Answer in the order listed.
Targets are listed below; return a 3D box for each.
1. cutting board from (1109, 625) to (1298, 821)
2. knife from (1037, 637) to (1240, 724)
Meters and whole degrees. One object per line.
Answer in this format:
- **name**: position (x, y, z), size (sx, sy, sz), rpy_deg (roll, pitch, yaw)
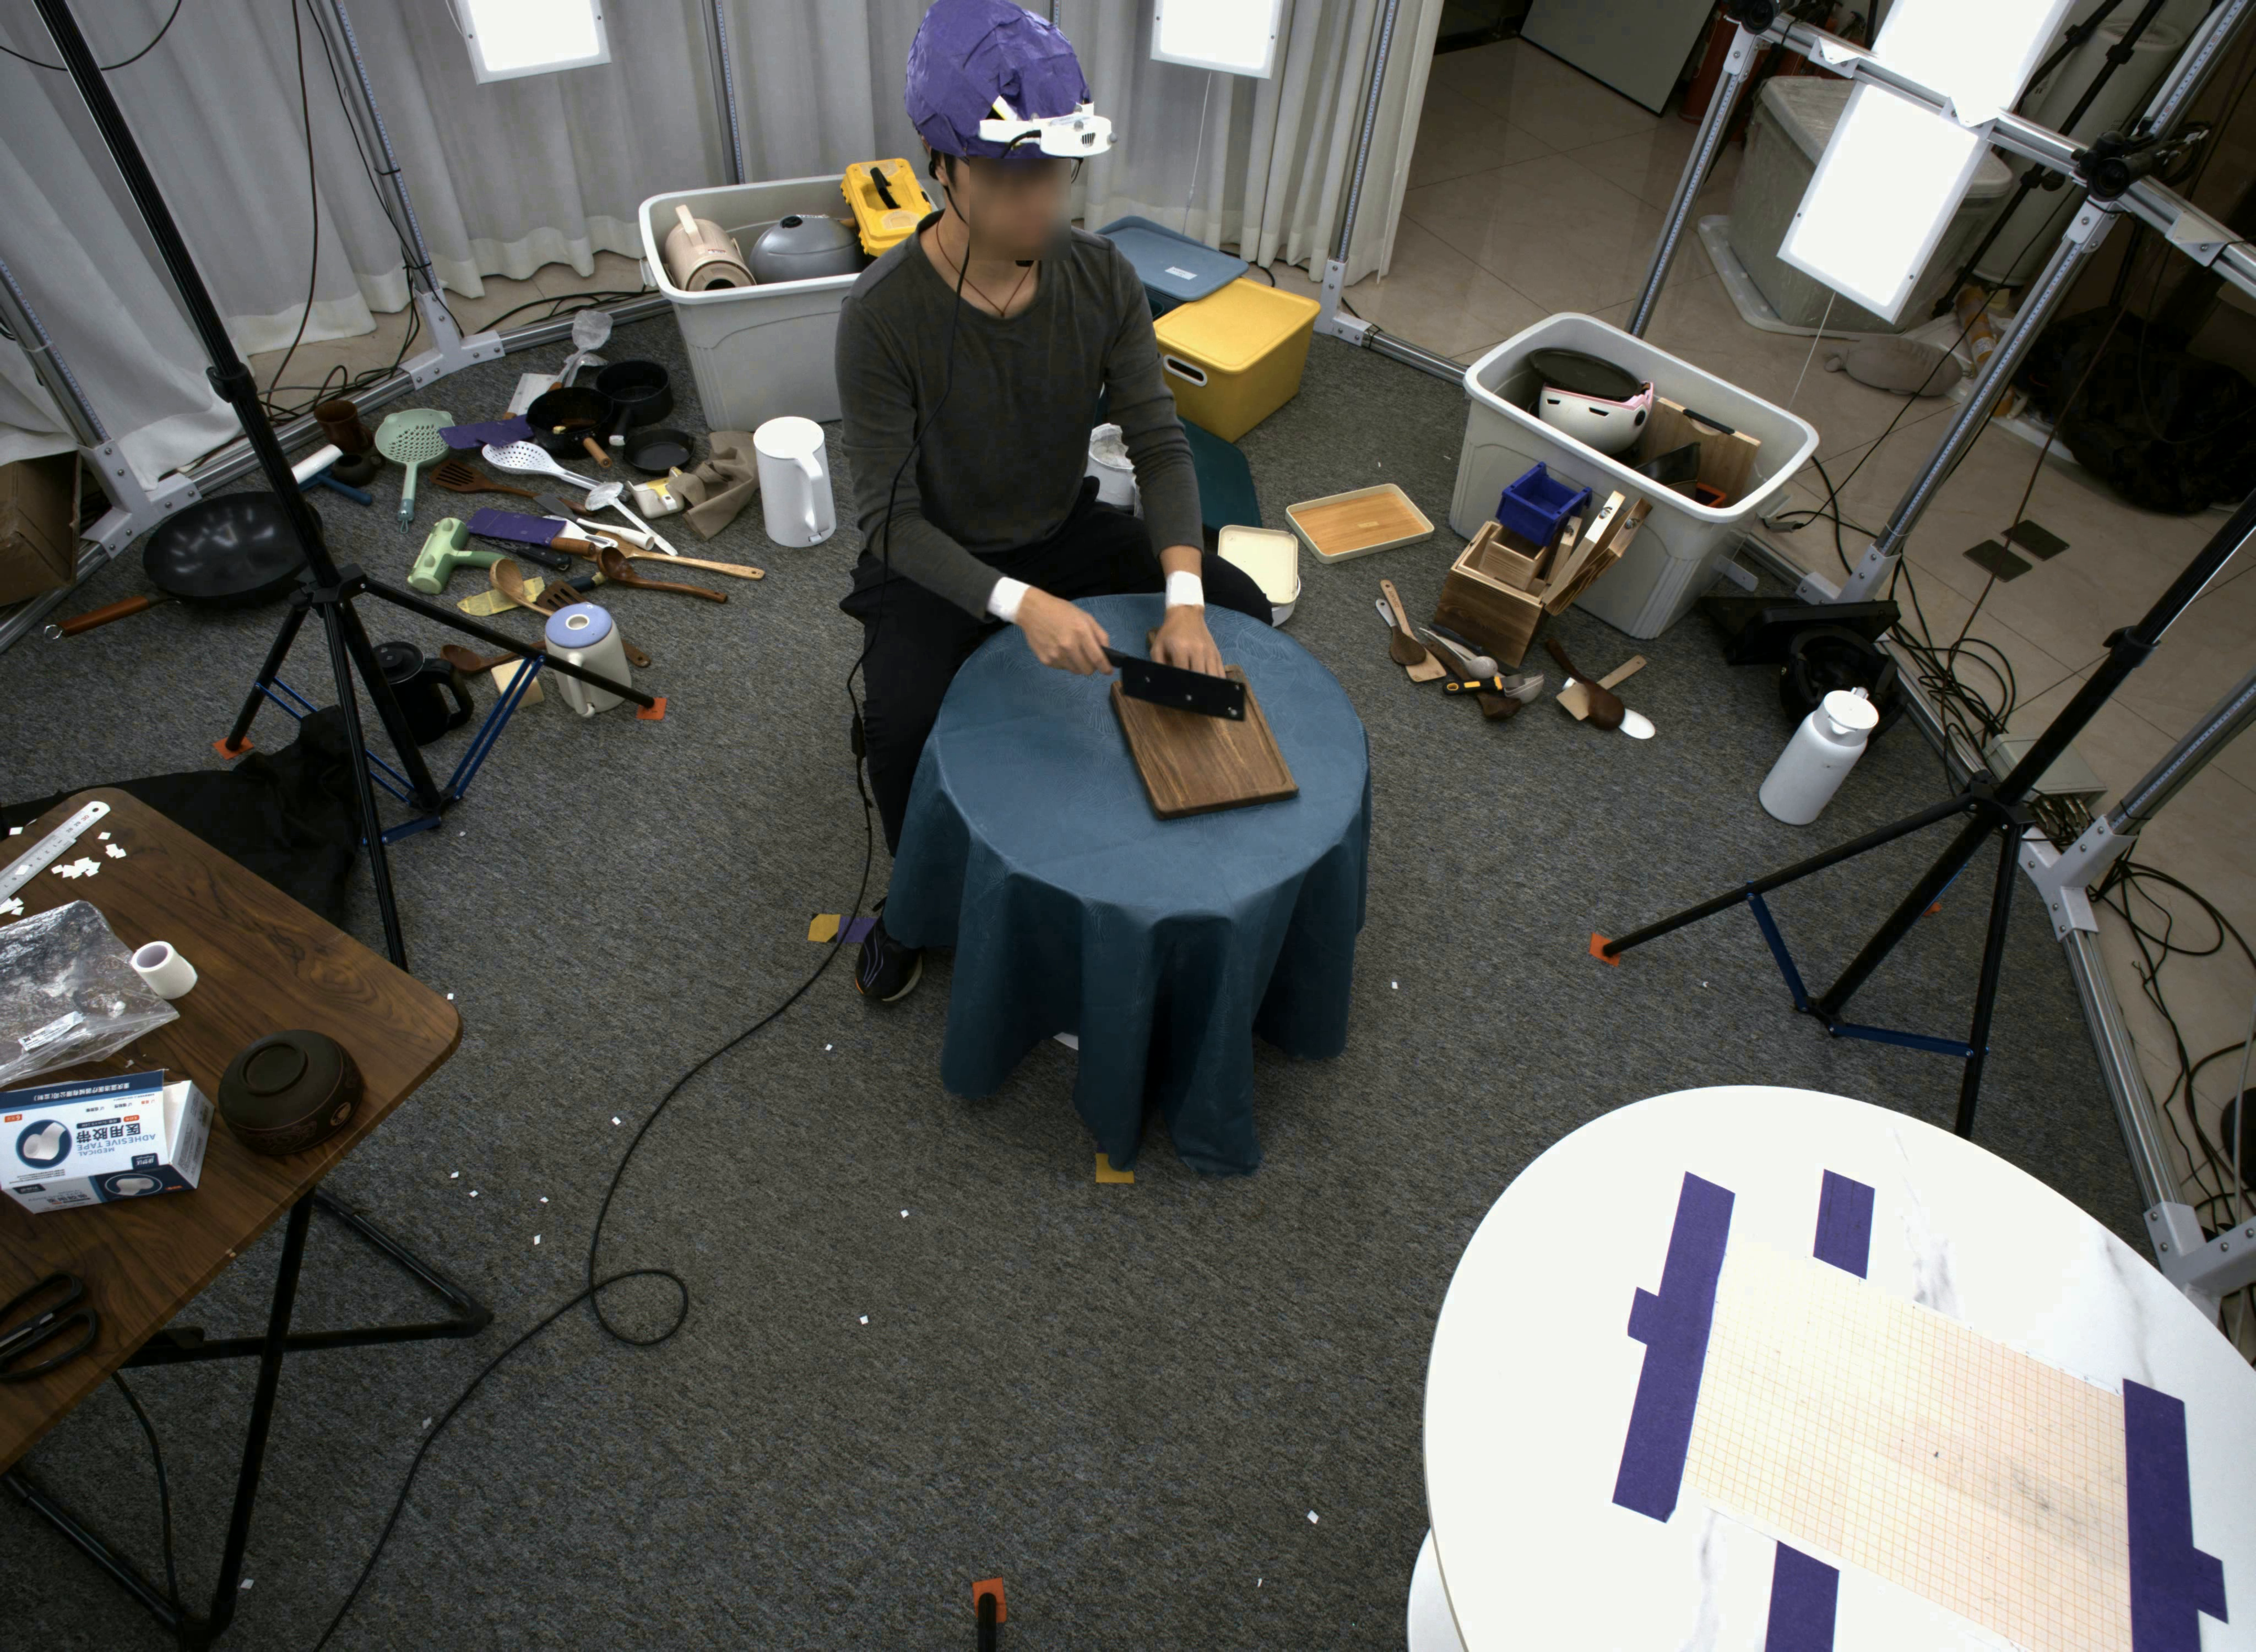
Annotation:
- **cutting board**: position (0.088, -0.159, 1.797), size (0.201, 0.022, 0.361), rpy_deg (-9, 50, -13)
- **knife**: position (0.011, -0.195, 1.694), size (0.305, 0.079, 0.021), rpy_deg (20, 41, 22)
